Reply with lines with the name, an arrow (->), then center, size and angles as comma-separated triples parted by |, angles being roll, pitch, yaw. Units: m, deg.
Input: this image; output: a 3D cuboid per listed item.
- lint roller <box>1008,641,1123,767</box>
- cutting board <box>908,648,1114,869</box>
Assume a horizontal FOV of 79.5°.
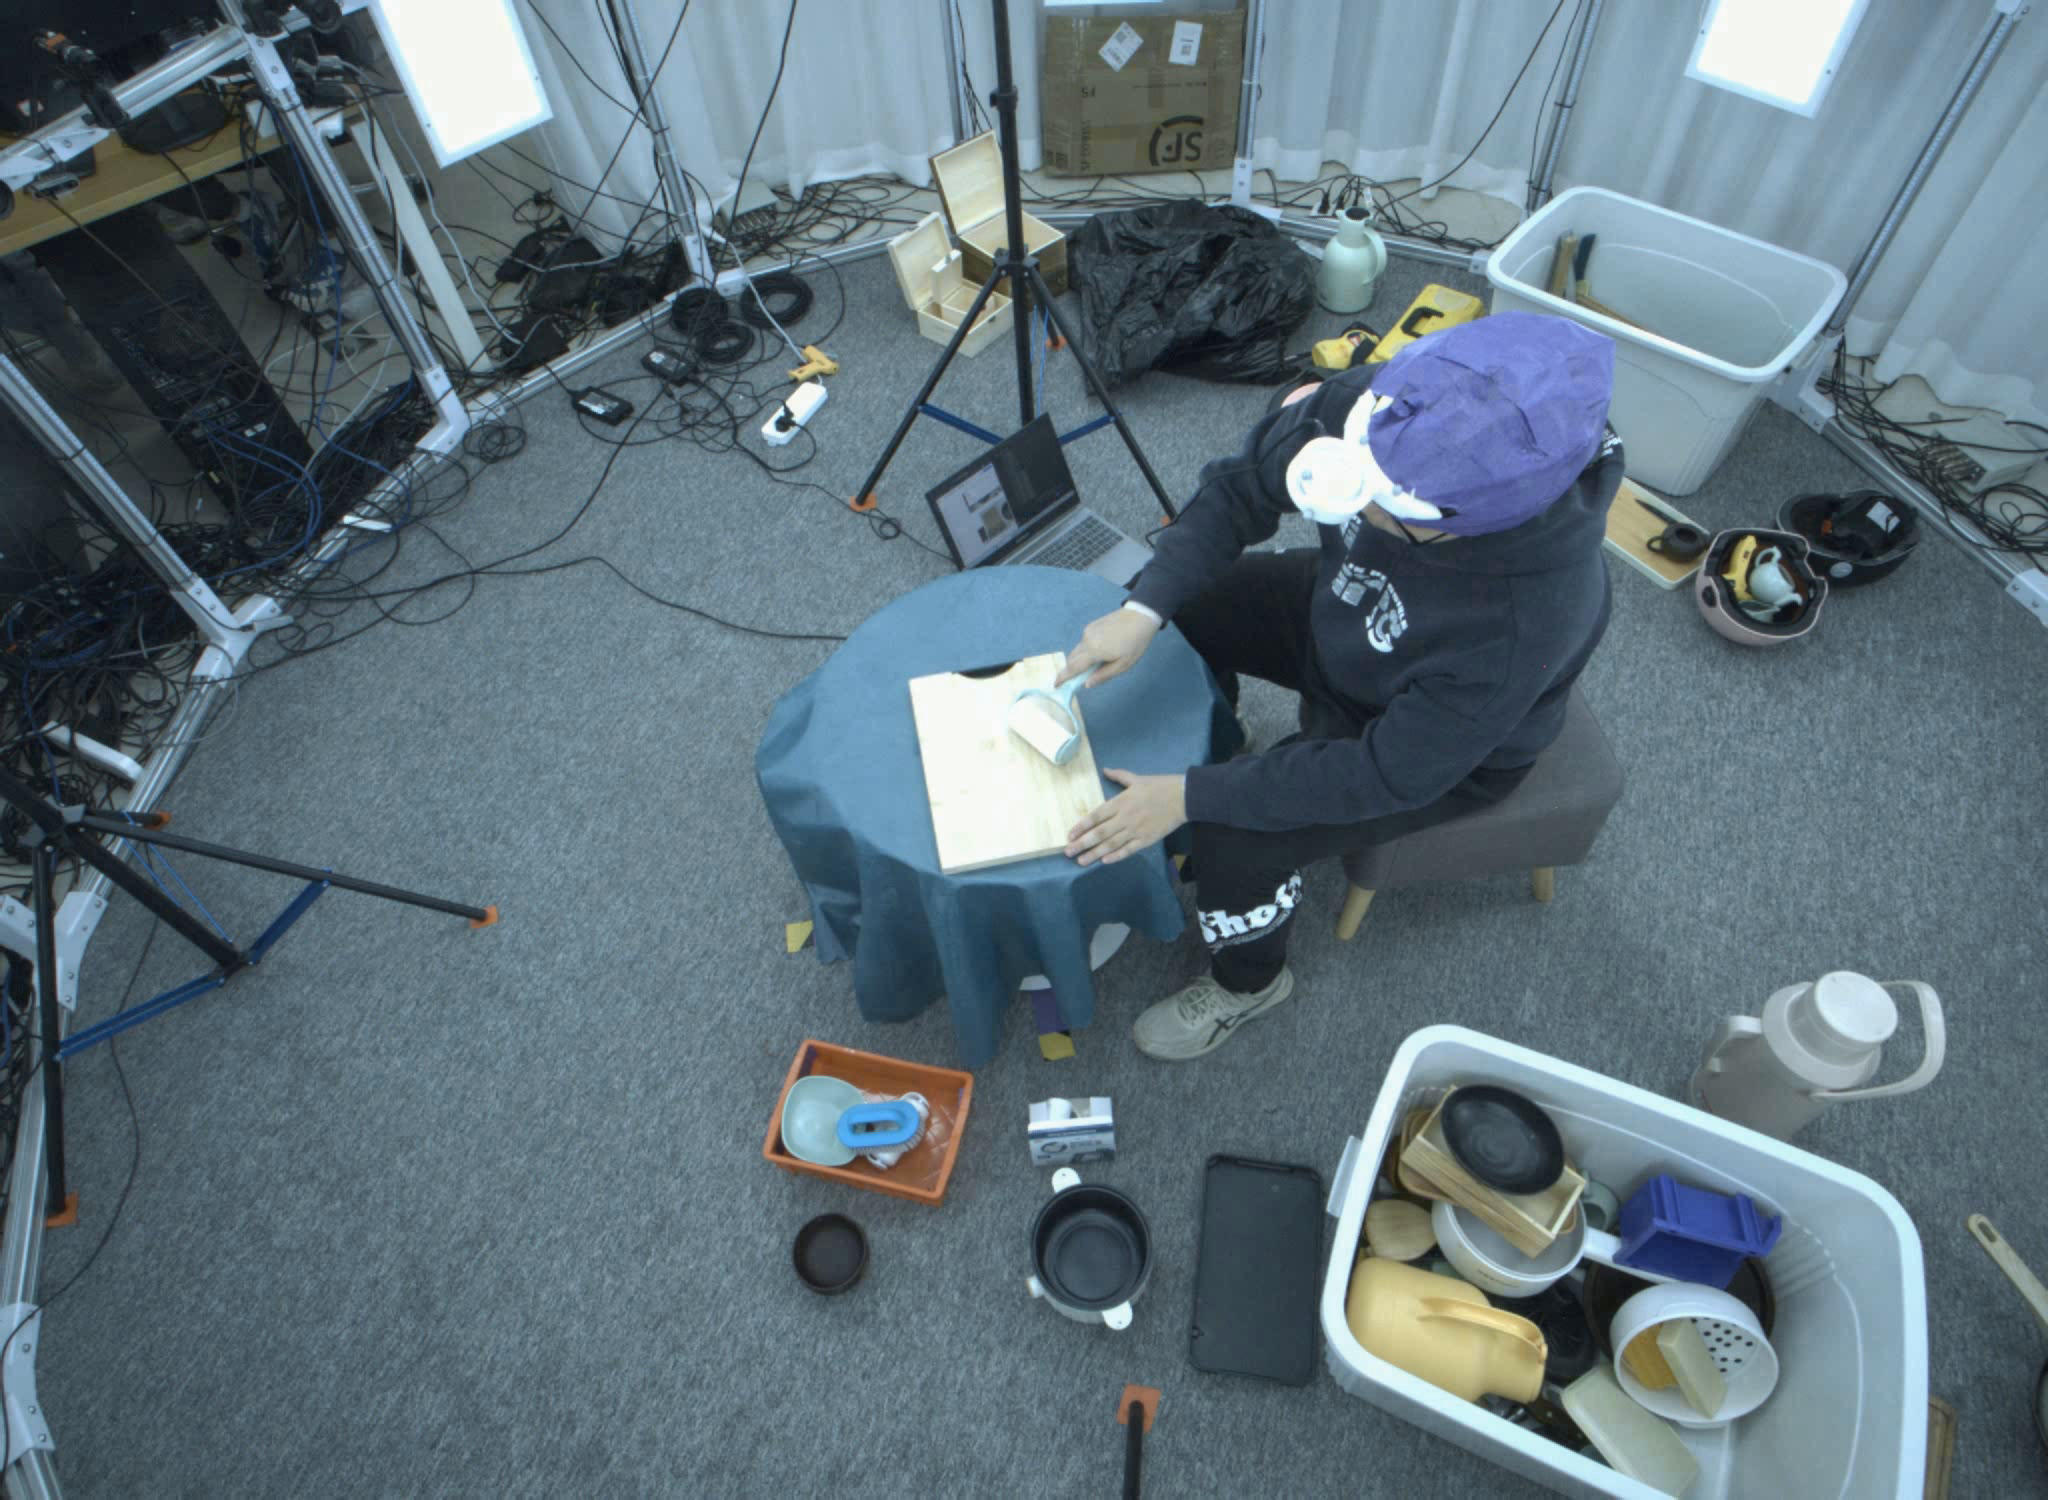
lint roller -> 0.074, -0.078, 1.752 | 0.114, 0.049, 0.197 | 39, 90, 28
cutting board -> -0.026, 0.006, 1.775 | 0.252, 0.024, 0.343 | -10, 55, -7
